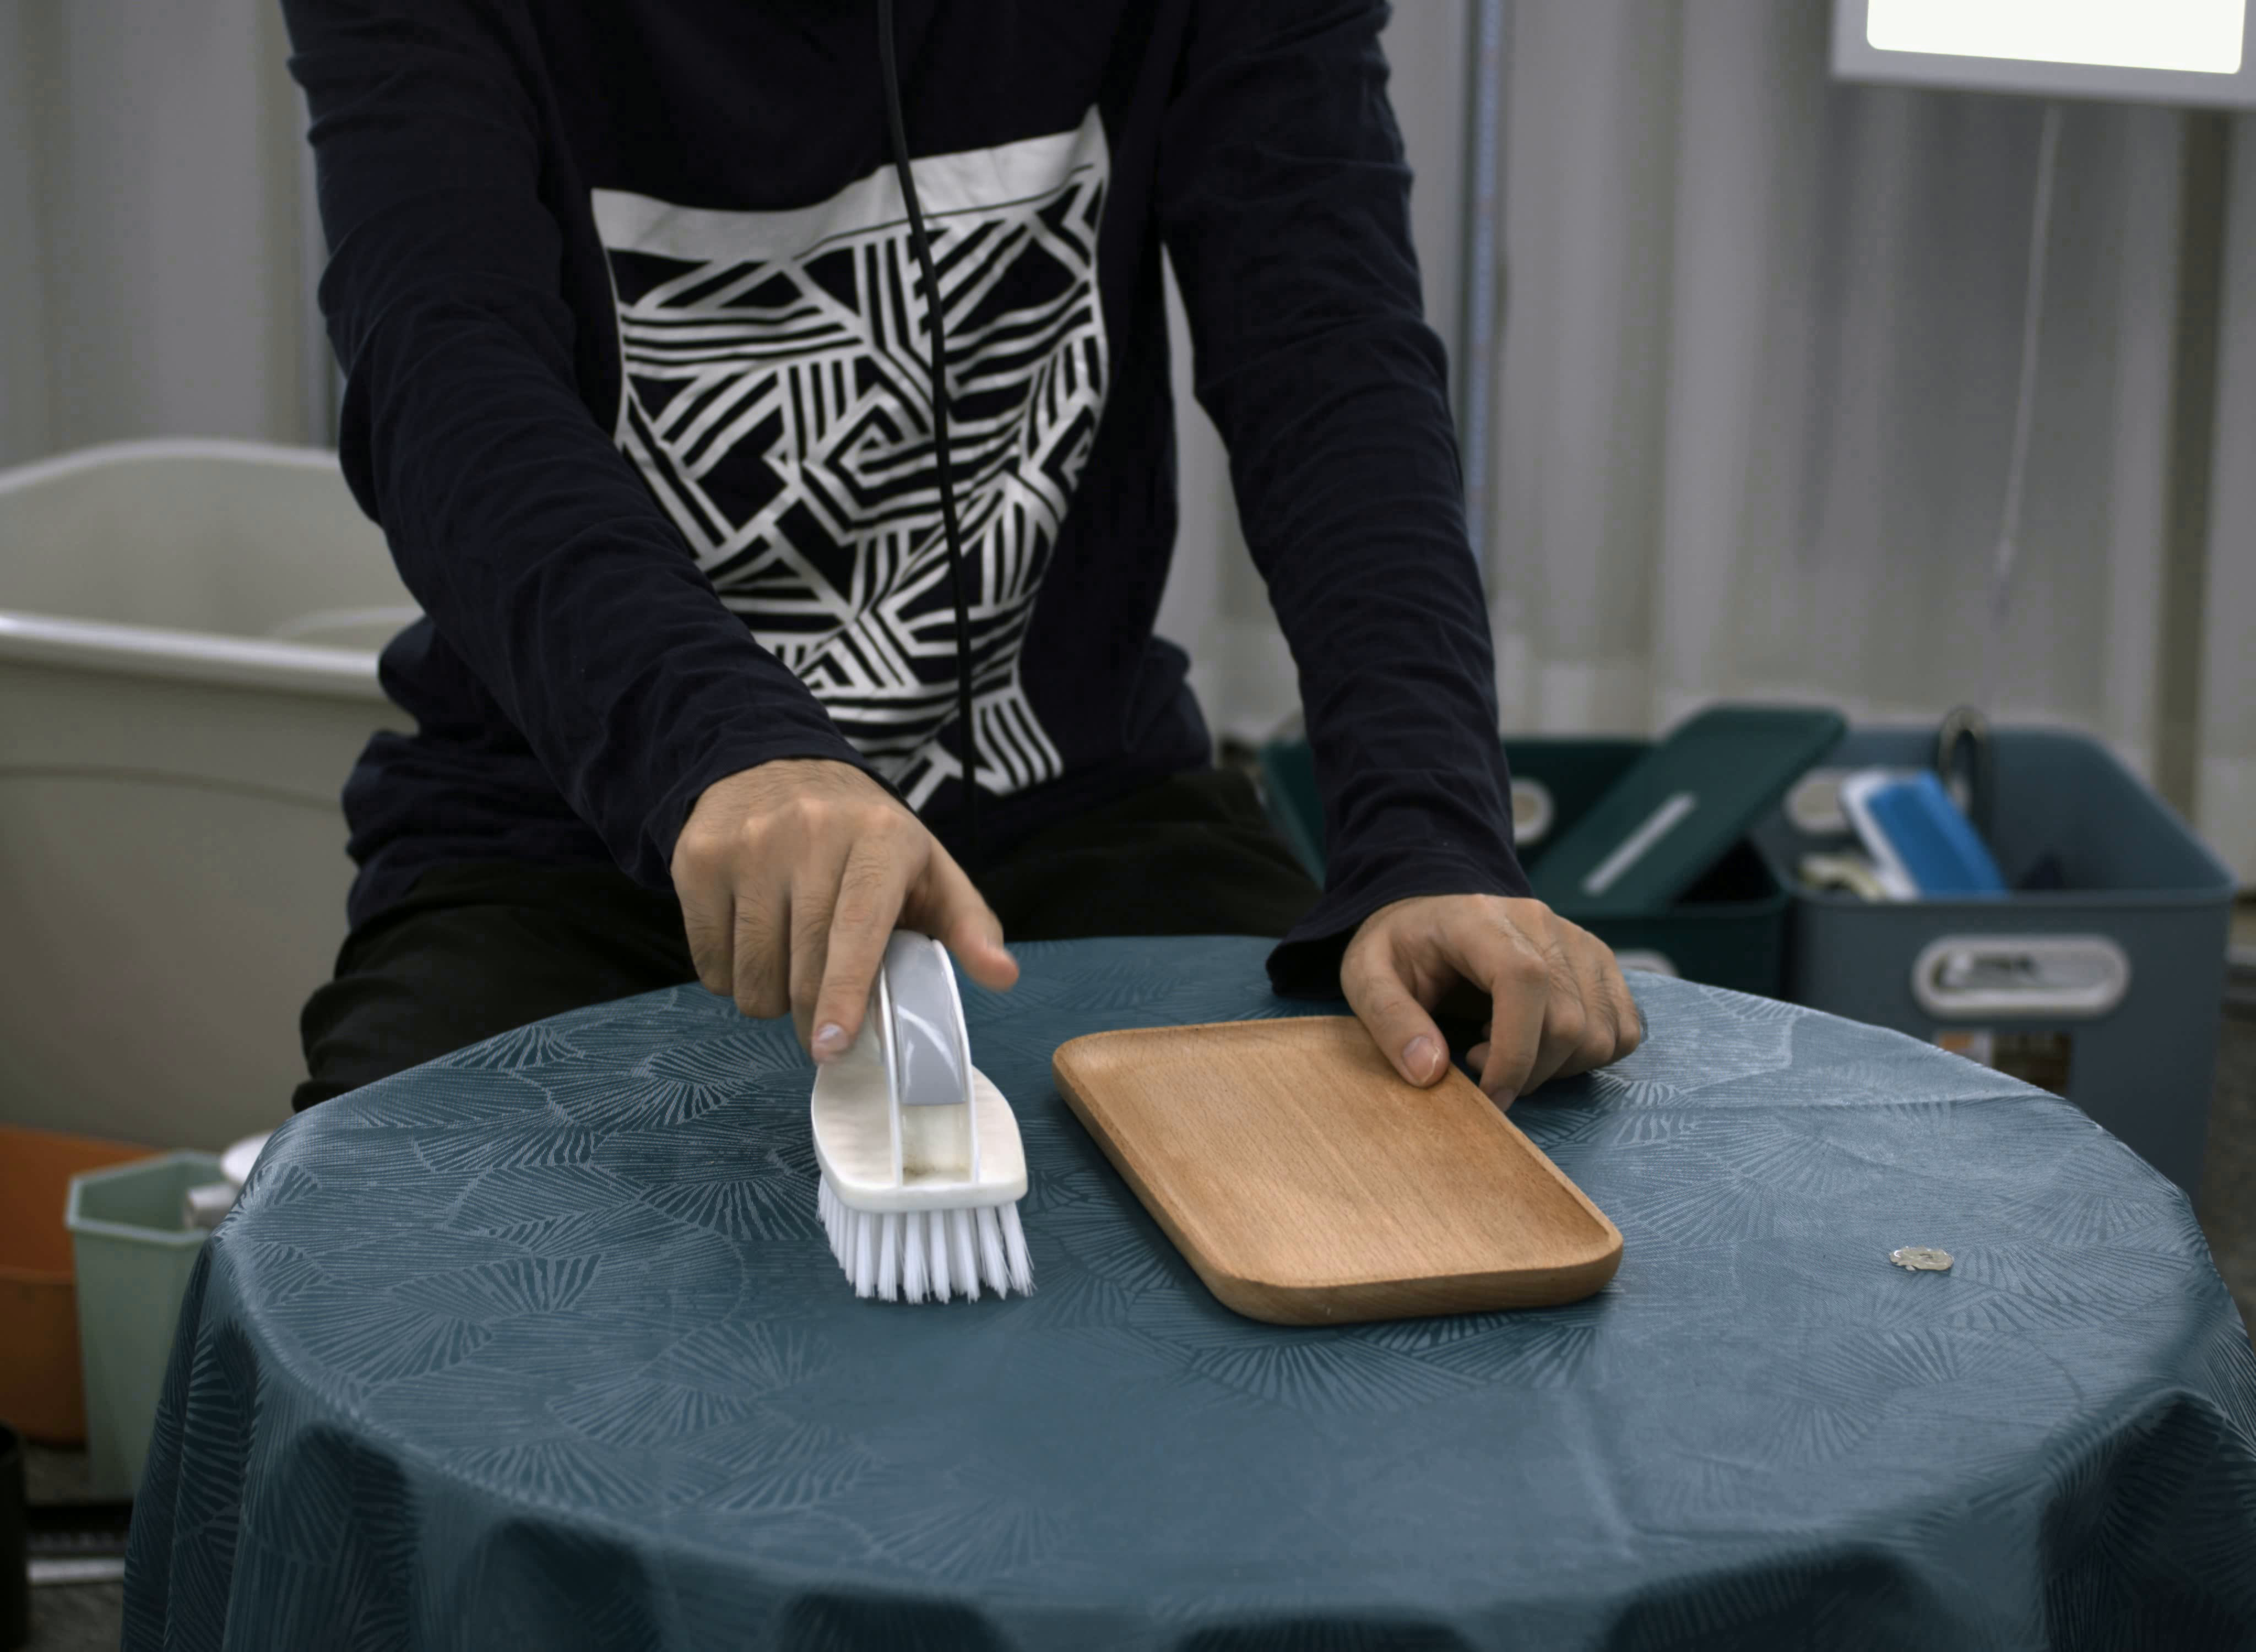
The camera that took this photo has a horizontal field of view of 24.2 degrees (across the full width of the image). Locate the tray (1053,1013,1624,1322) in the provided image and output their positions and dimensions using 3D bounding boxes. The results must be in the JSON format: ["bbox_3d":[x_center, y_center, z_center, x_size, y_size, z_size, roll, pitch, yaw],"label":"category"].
[{"bbox_3d":[0.061,0.103,1.632,0.131,0.023,0.248,-1,14,-13],"label":"tray"}]

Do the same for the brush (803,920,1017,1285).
[{"bbox_3d":[-0.070,0.073,1.594,0.061,0.095,0.174,-2,14,-8],"label":"brush"}]
